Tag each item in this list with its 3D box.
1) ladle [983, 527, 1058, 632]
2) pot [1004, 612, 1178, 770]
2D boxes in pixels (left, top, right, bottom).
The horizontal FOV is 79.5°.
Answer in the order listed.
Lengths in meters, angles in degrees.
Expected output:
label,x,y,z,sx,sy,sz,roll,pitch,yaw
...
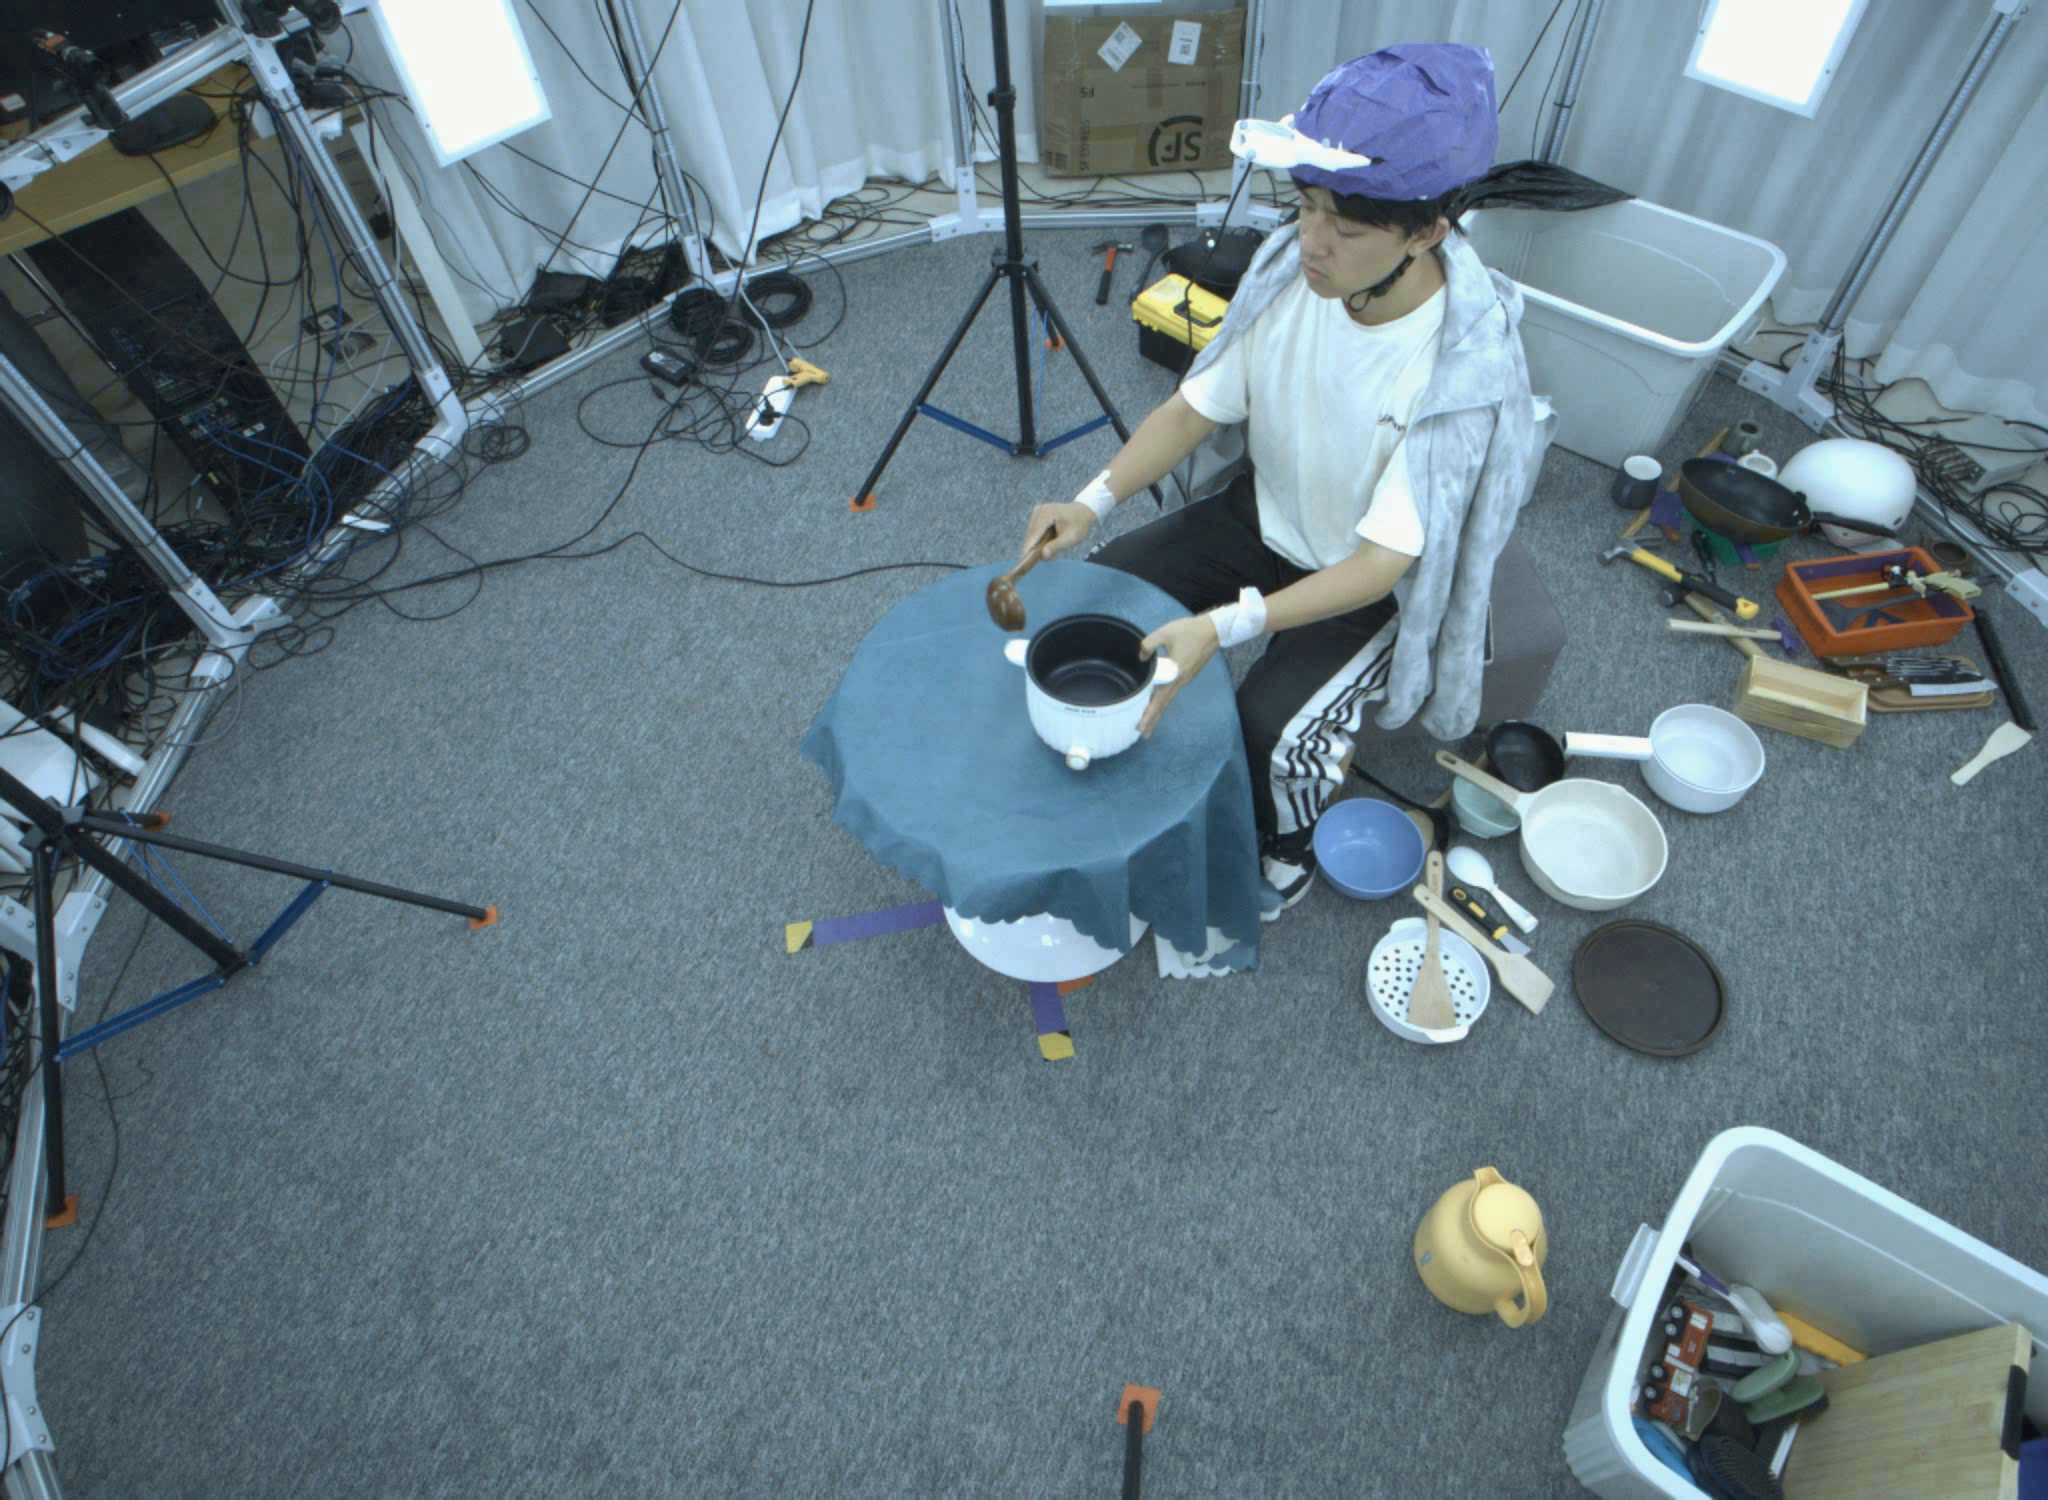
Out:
label,x,y,z,sx,sy,sz,roll,pitch,yaw
ladle,0.016,-0.254,1.729,0.075,0.083,0.275,11,36,23
pot,0.092,-0.079,1.721,0.239,0.144,0.189,7,47,8
